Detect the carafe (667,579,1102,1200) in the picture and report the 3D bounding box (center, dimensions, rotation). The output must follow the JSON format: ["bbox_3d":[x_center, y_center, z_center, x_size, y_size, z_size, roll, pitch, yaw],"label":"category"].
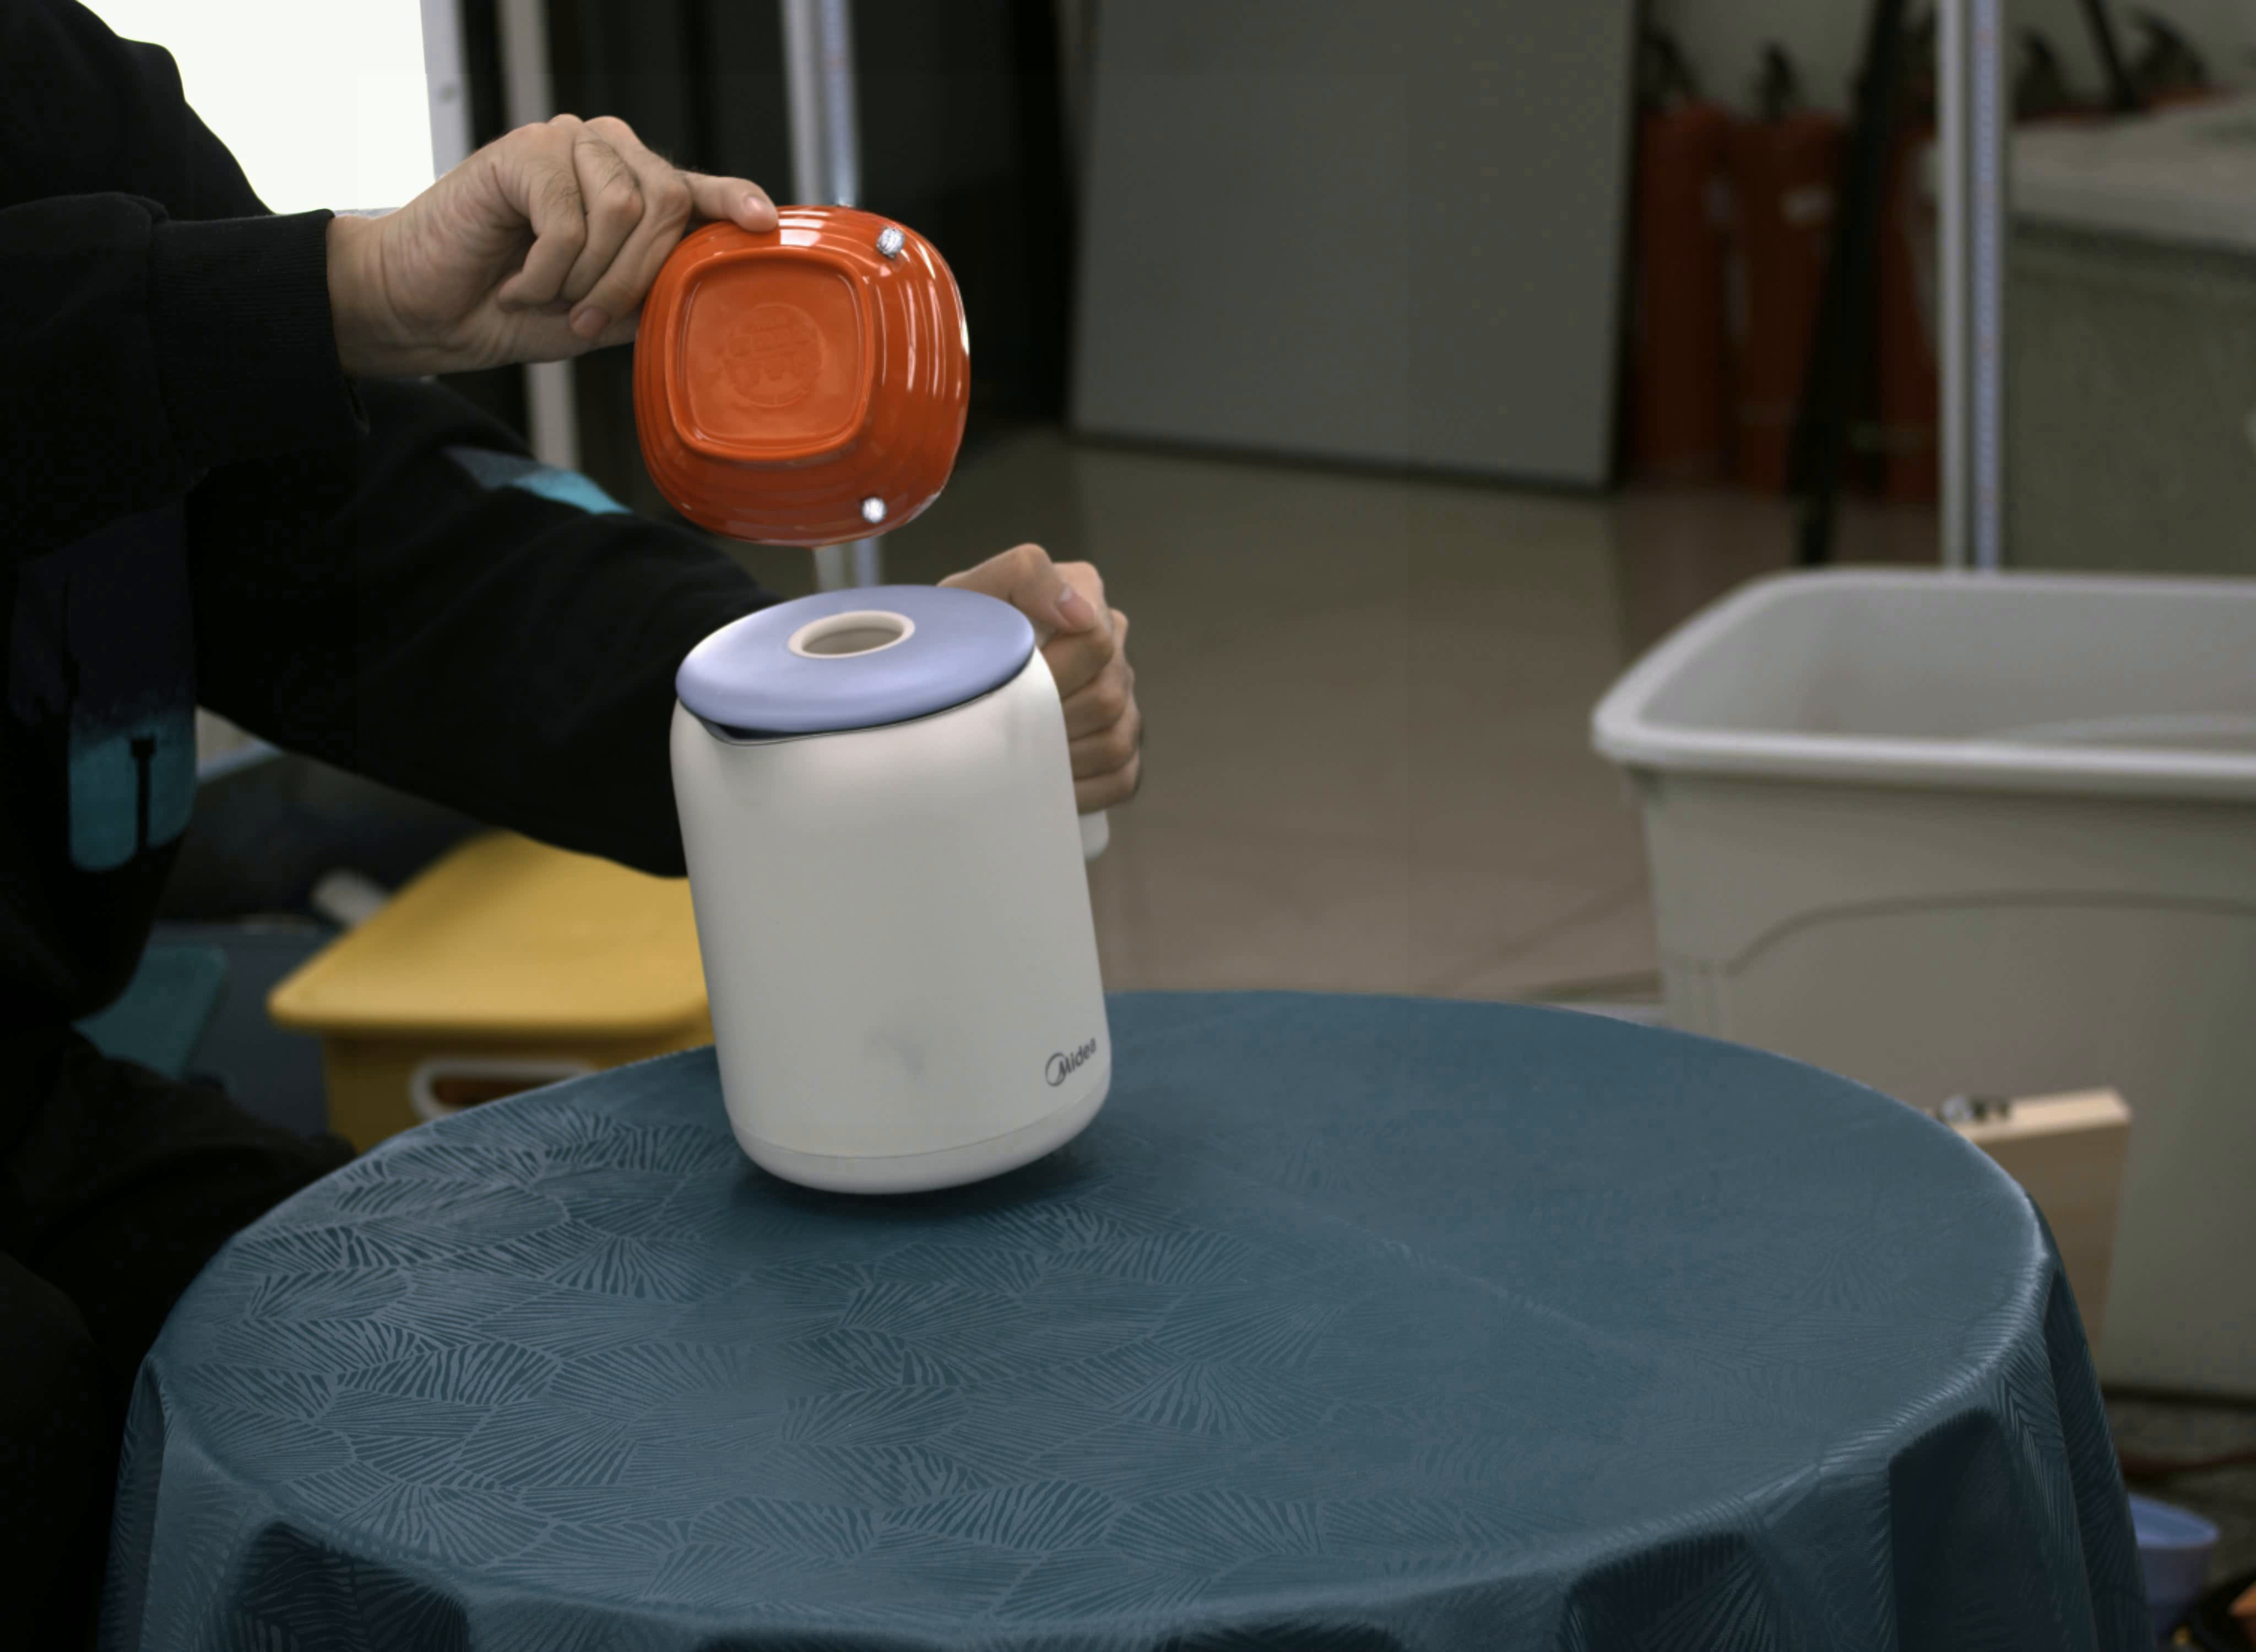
[{"bbox_3d":[-0.067,0.012,1.798,0.133,0.184,0.188,7,23,31],"label":"carafe"}]

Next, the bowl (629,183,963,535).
[{"bbox_3d":[-0.110,-0.149,1.699,0.118,0.120,0.051,0,-2,14],"label":"bowl"}]
